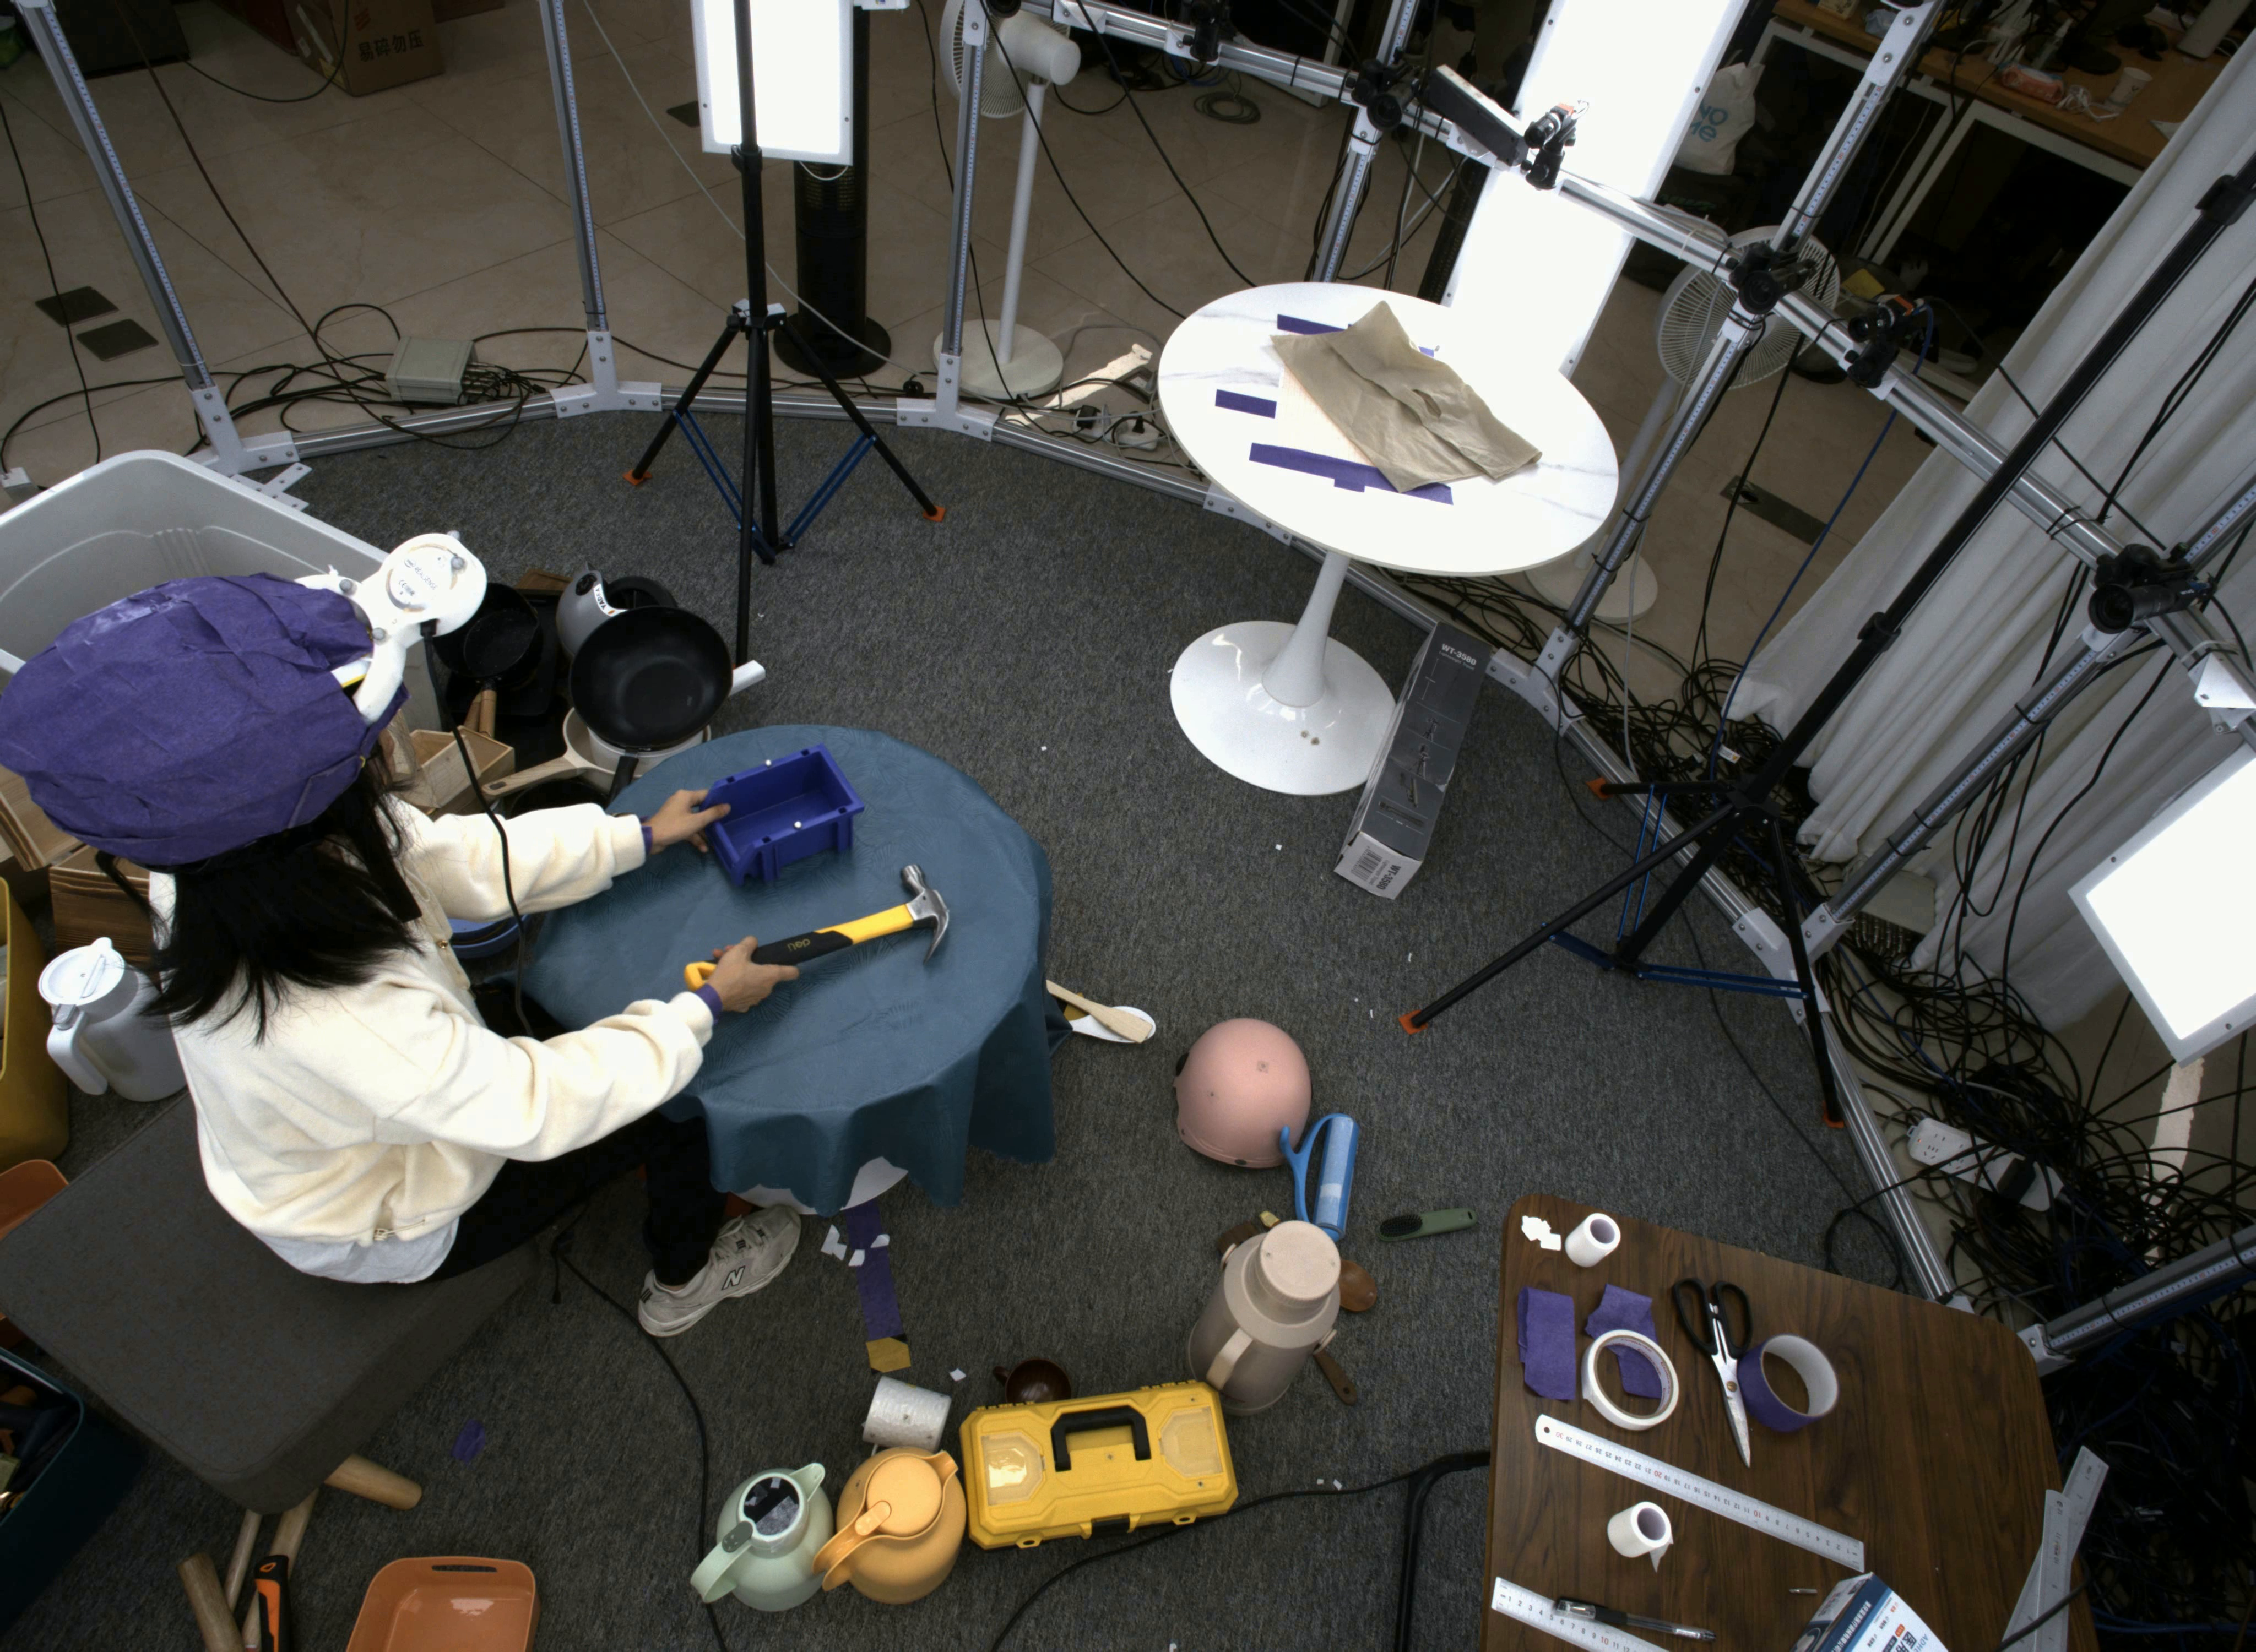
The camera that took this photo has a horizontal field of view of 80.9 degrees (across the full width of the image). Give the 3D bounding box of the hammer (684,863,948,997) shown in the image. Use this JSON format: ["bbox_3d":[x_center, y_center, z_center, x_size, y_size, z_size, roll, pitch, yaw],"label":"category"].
[{"bbox_3d":[-0.373,0.138,1.578,0.342,0.032,0.128,-16,61,-35],"label":"hammer"}]

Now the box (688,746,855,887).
[{"bbox_3d":[-0.458,-0.009,1.664,0.180,0.083,0.121,-22,61,-30],"label":"box"}]
